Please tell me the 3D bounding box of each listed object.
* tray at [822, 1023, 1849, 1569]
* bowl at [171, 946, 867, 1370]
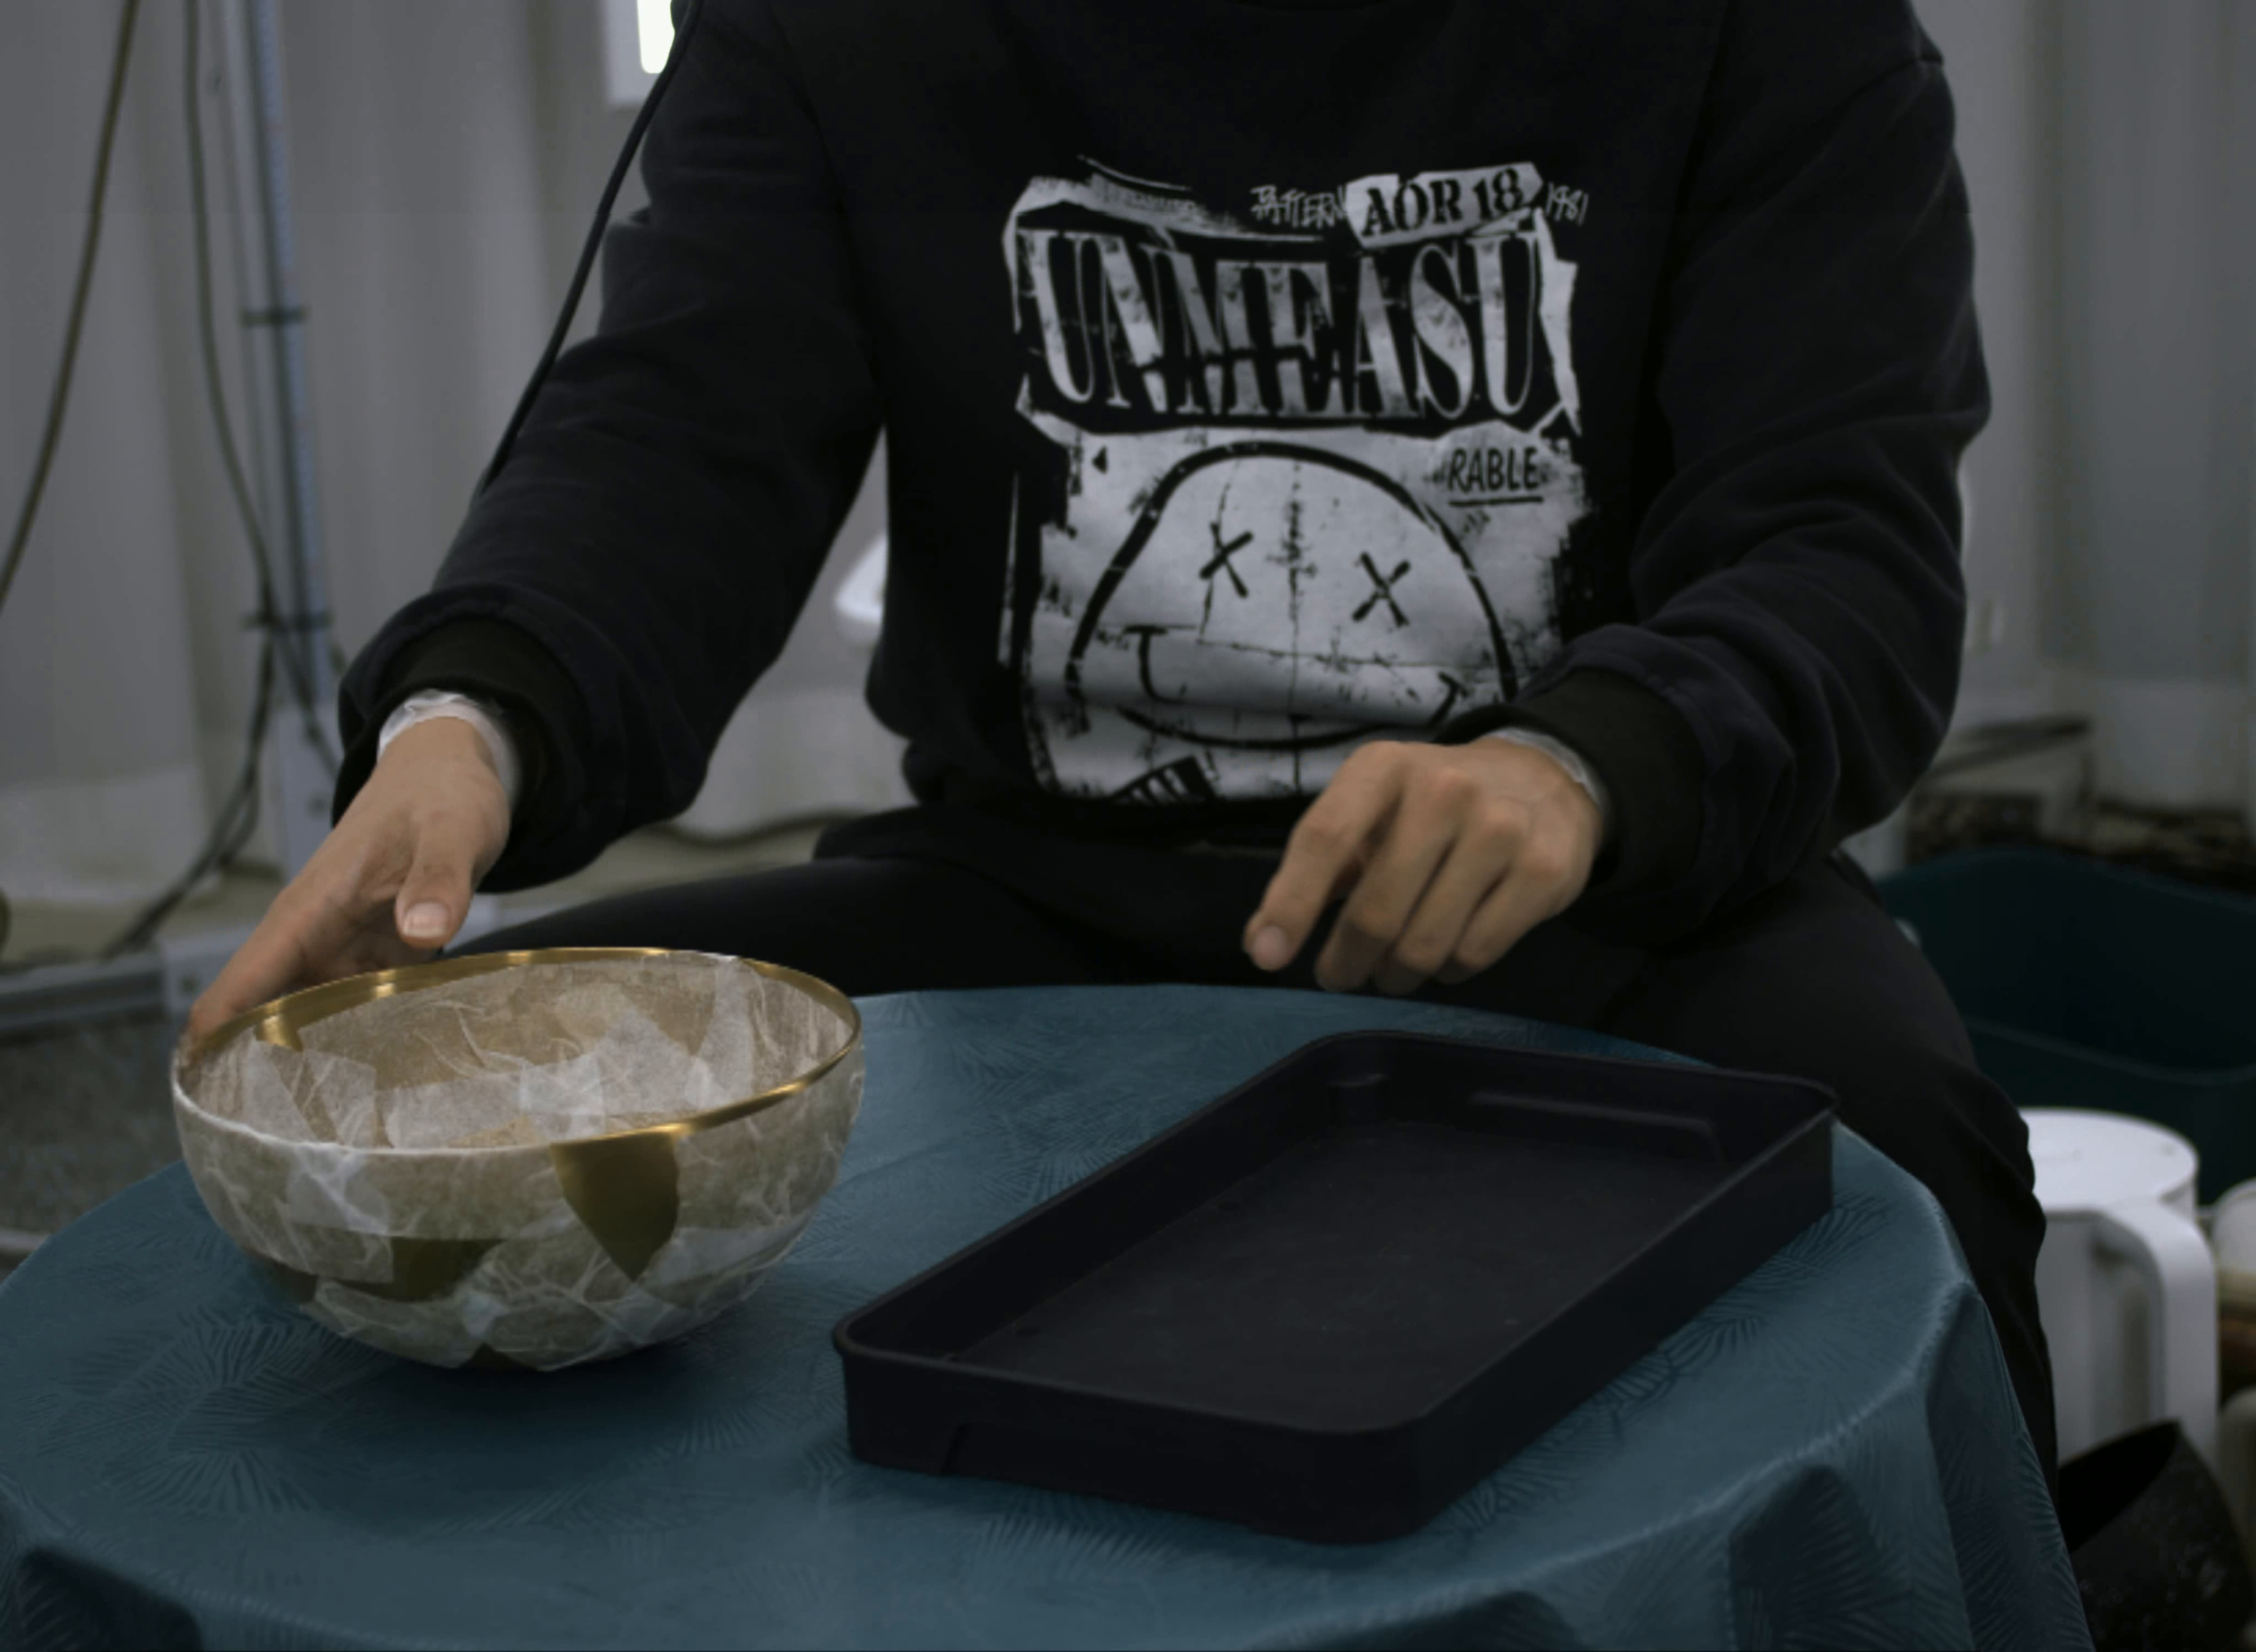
[{"bbox_3d":[0.068,0.129,1.588,0.185,0.037,0.318,7,19,31],"label":"tray"},{"bbox_3d":[-0.171,0.105,1.606,0.214,0.094,0.216,-4,14,1],"label":"bowl"}]
